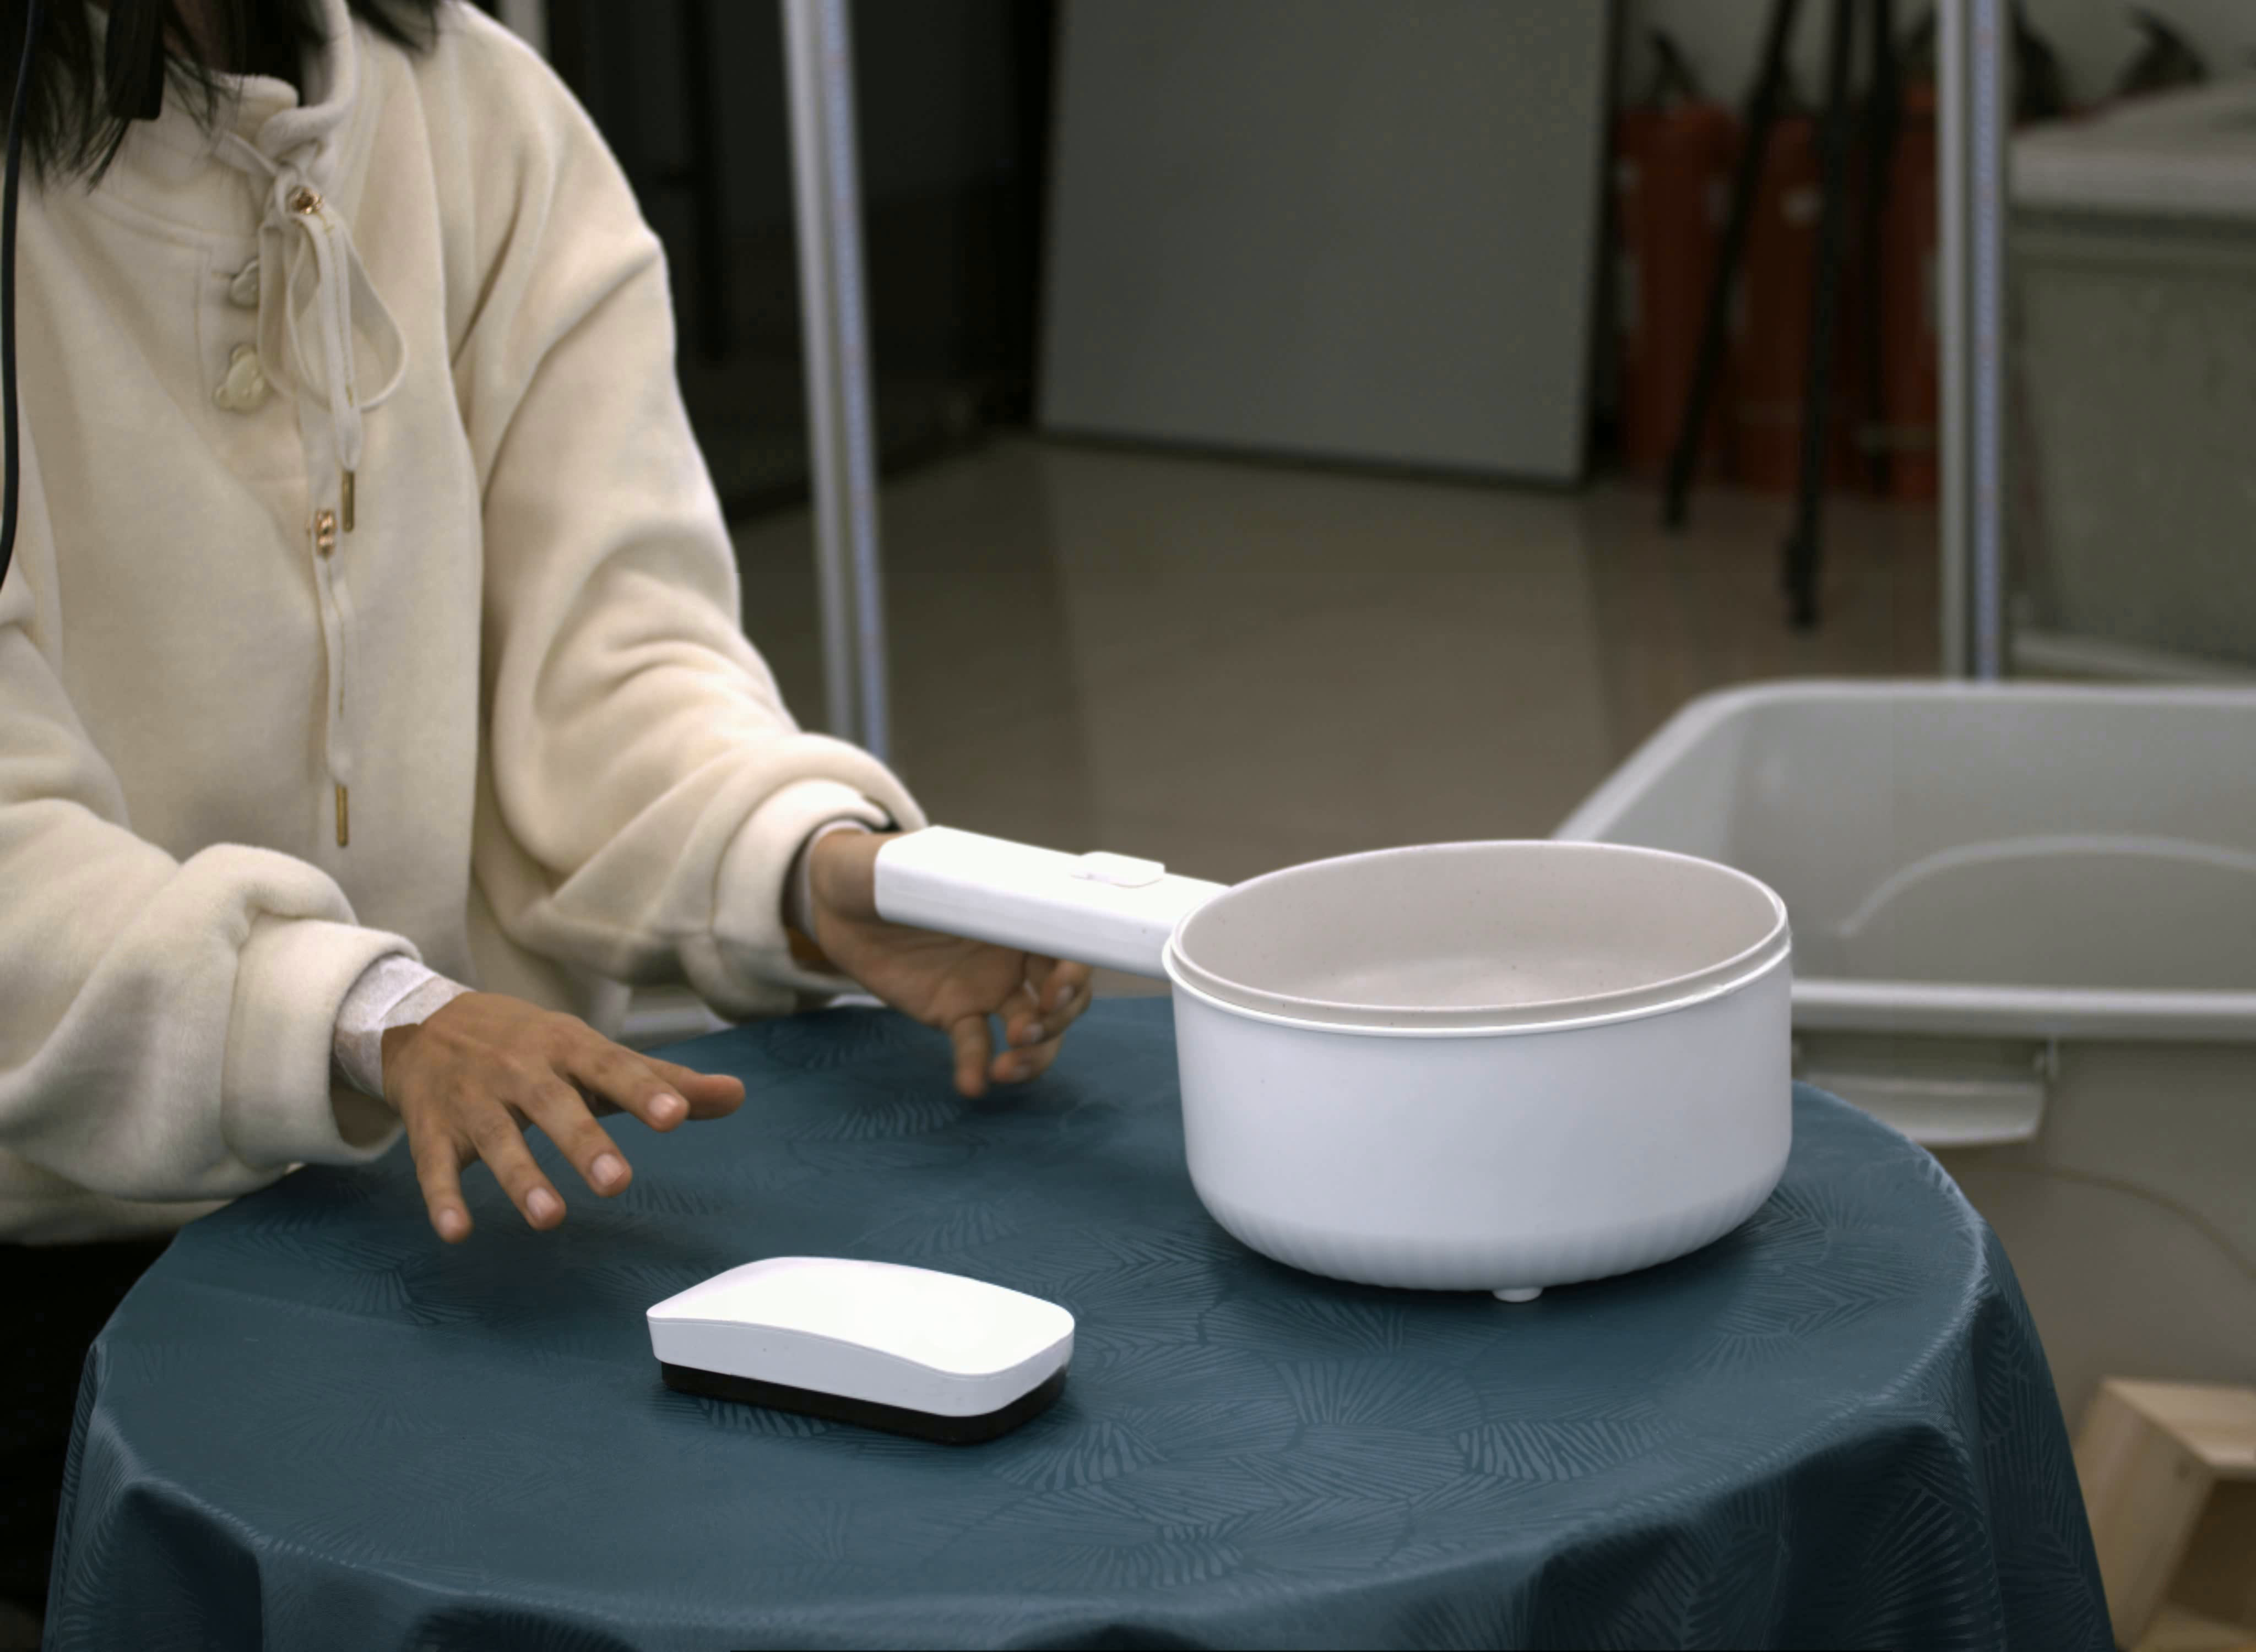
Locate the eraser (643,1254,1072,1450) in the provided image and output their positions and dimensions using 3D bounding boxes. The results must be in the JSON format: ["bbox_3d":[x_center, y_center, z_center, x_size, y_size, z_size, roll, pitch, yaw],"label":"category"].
[{"bbox_3d":[-0.079,0.154,1.598,0.132,0.035,0.062,7,15,36],"label":"eraser"}]

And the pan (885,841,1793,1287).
[{"bbox_3d":[0.057,0.069,1.754,0.358,0.103,0.197,6,15,44],"label":"pan"}]
